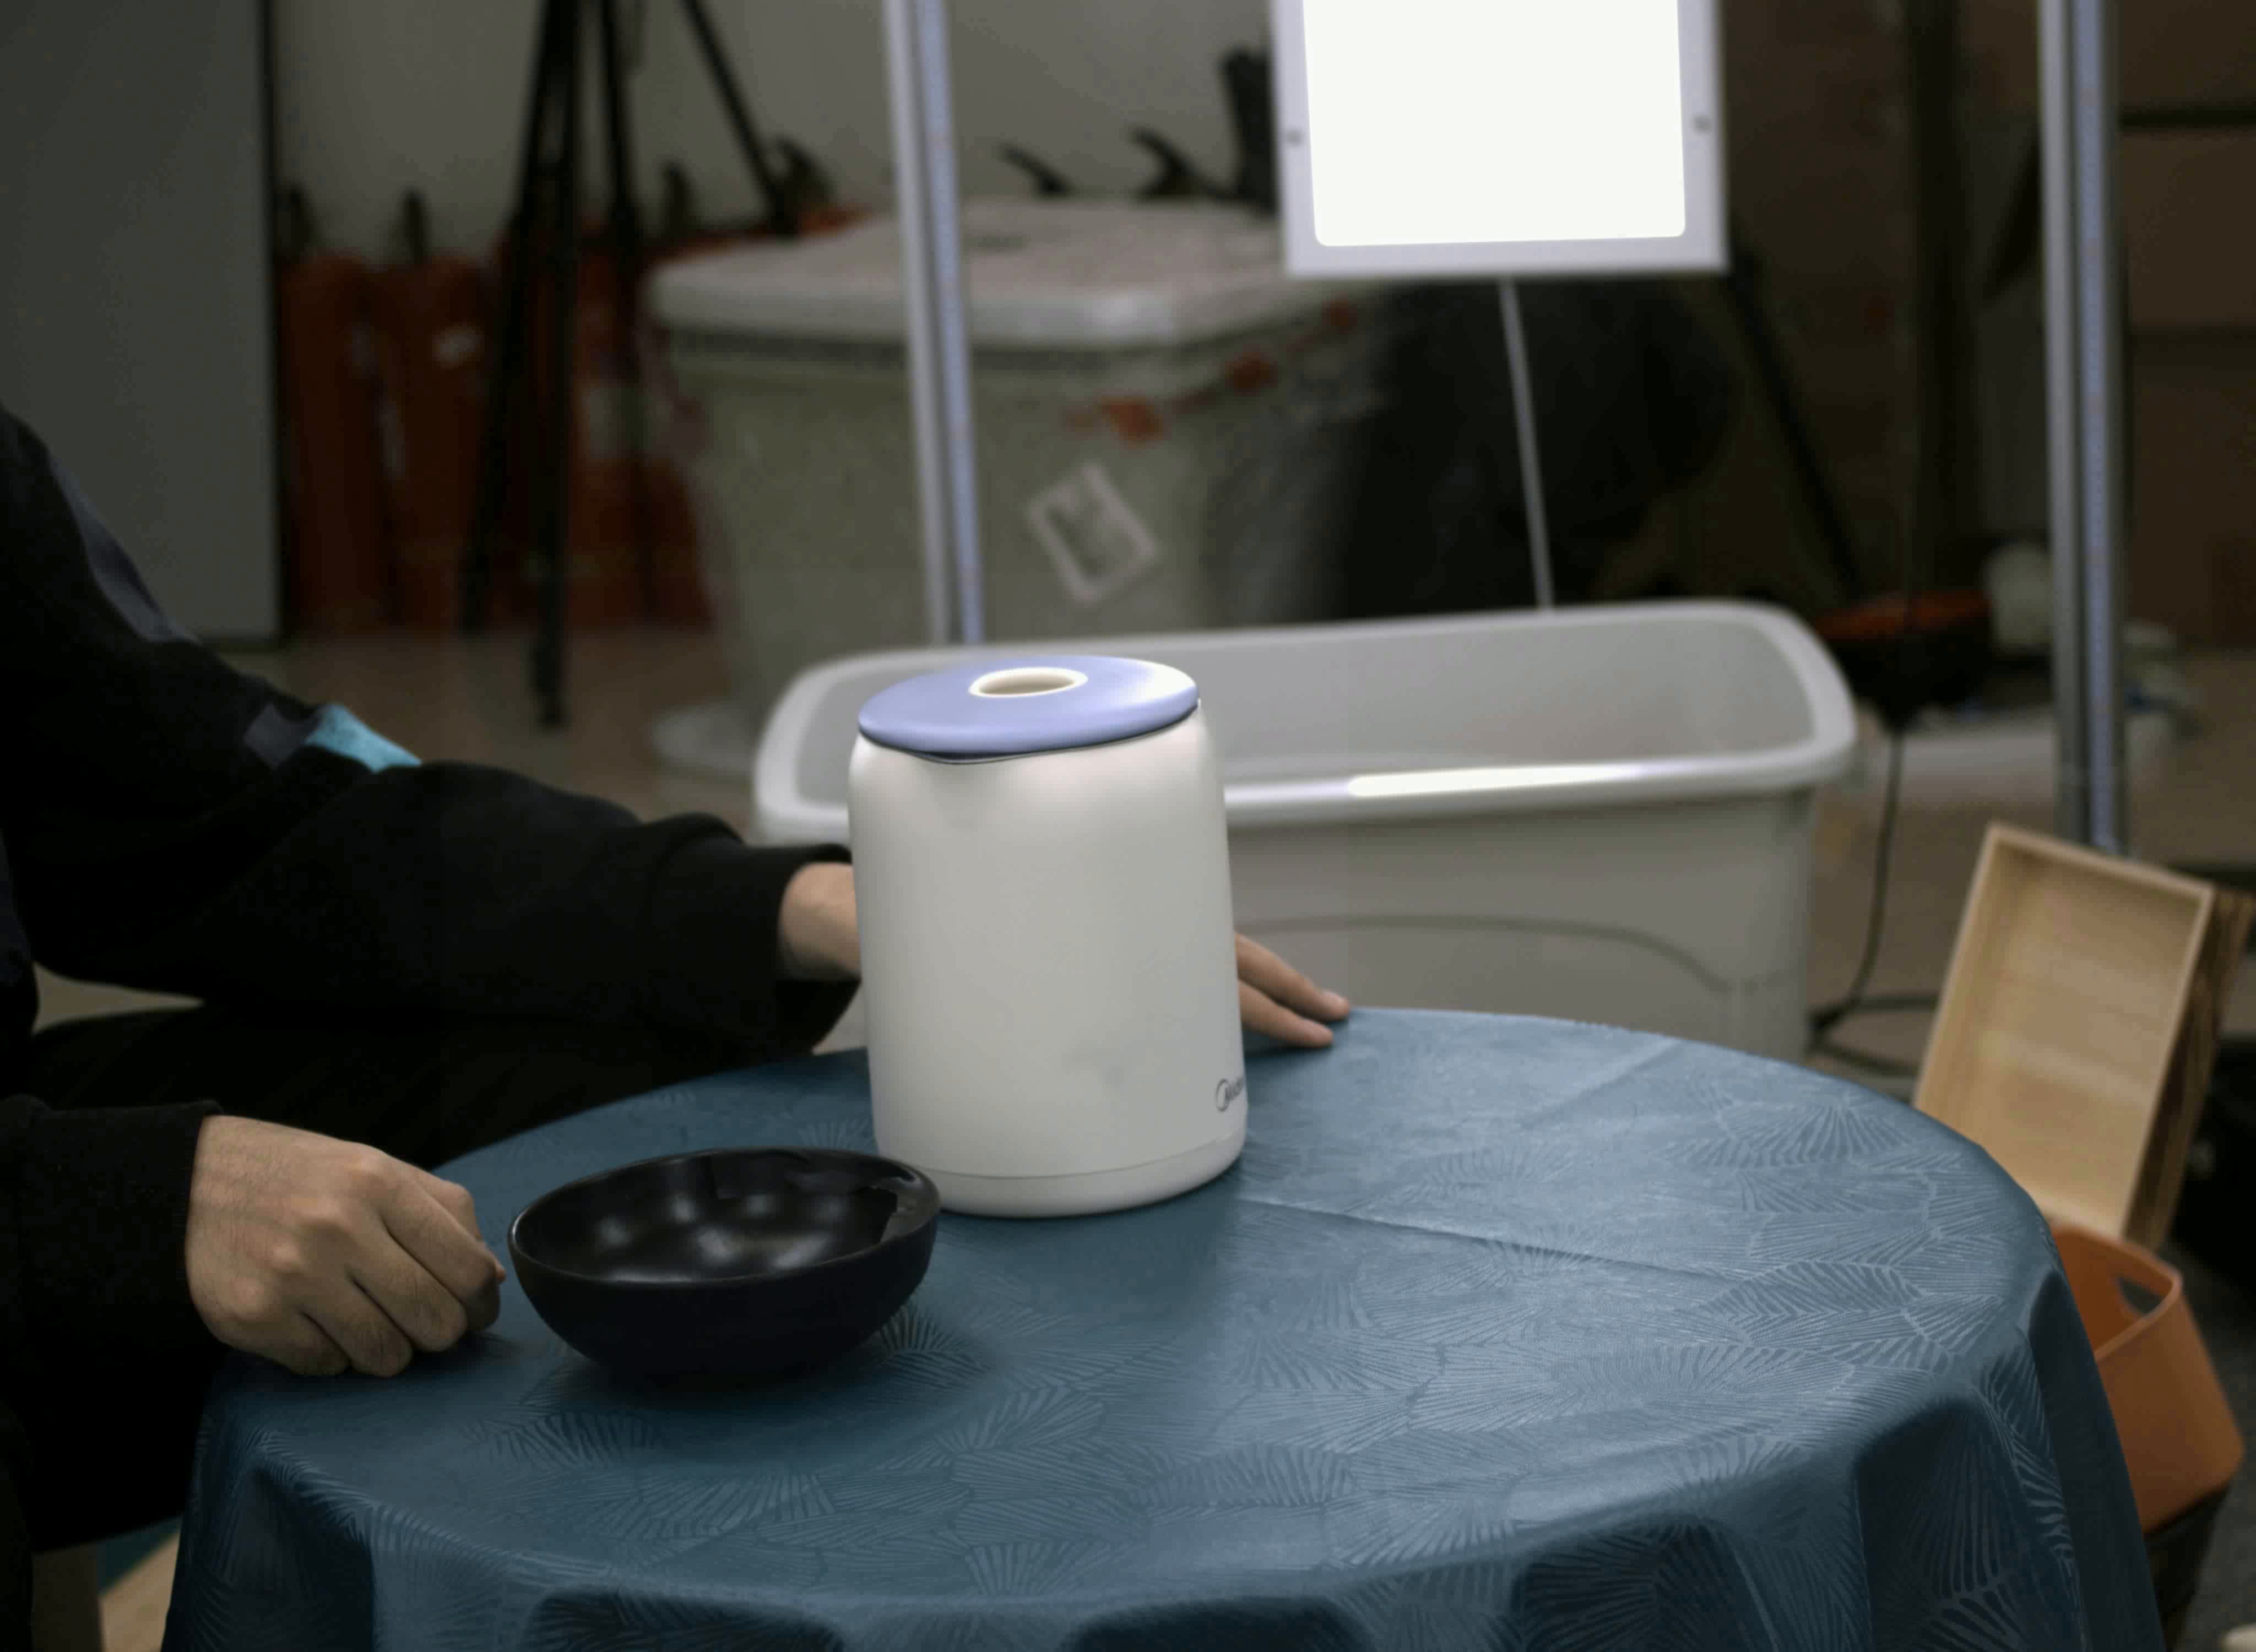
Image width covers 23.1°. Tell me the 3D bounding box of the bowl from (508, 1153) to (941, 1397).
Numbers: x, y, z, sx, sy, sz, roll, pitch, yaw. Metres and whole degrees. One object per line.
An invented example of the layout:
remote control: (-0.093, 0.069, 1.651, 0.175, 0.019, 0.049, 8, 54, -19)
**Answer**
bowl: (-0.126, 0.147, 1.759, 0.140, 0.050, 0.140, -7, 12, 0)

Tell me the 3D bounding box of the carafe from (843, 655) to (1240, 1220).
carafe: (-0.022, 0.032, 1.930, 0.134, 0.183, 0.188, 2, 13, 20)
